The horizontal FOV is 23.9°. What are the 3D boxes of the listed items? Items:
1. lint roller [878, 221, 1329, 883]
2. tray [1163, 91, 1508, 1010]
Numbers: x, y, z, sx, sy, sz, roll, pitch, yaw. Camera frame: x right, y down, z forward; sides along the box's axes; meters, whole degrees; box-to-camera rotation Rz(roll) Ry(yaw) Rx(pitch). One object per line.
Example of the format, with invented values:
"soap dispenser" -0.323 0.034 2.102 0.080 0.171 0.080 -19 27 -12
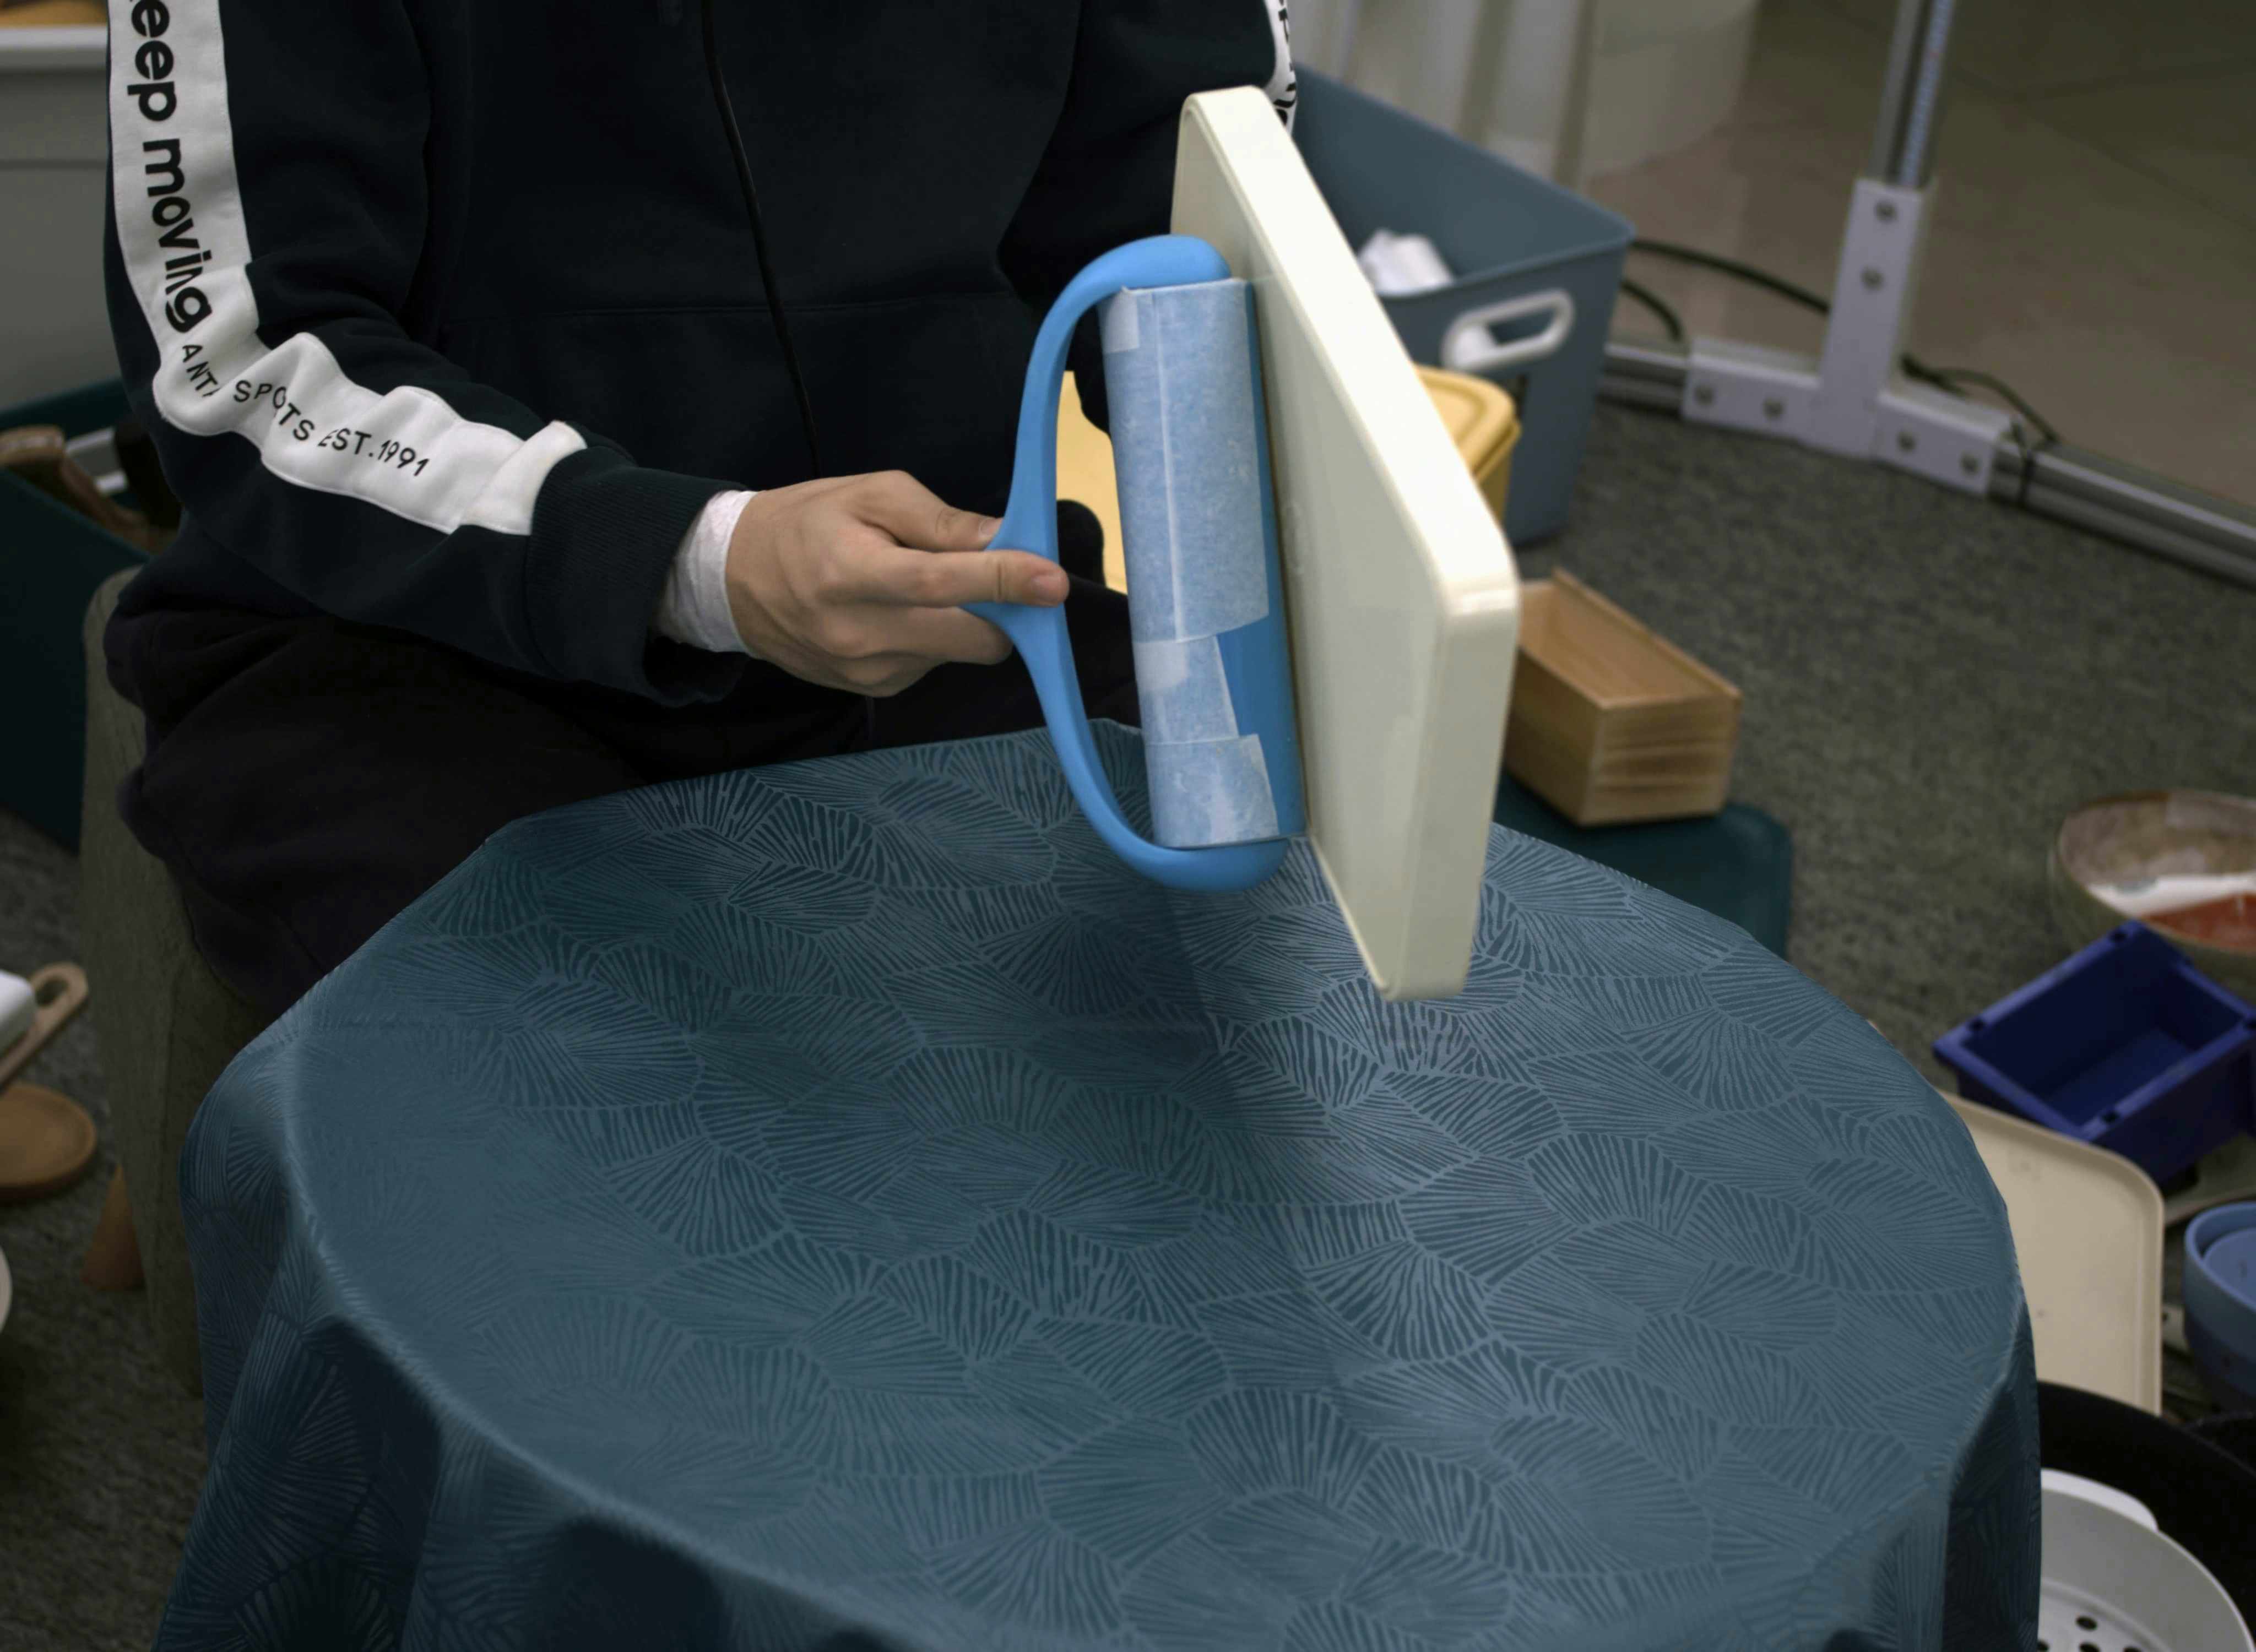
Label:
"lint roller" -0.023 -0.085 1.859 0.180 0.229 0.067 -9 4 29
"tray" 0.063 -0.098 1.832 0.027 0.190 0.303 -8 41 -14
